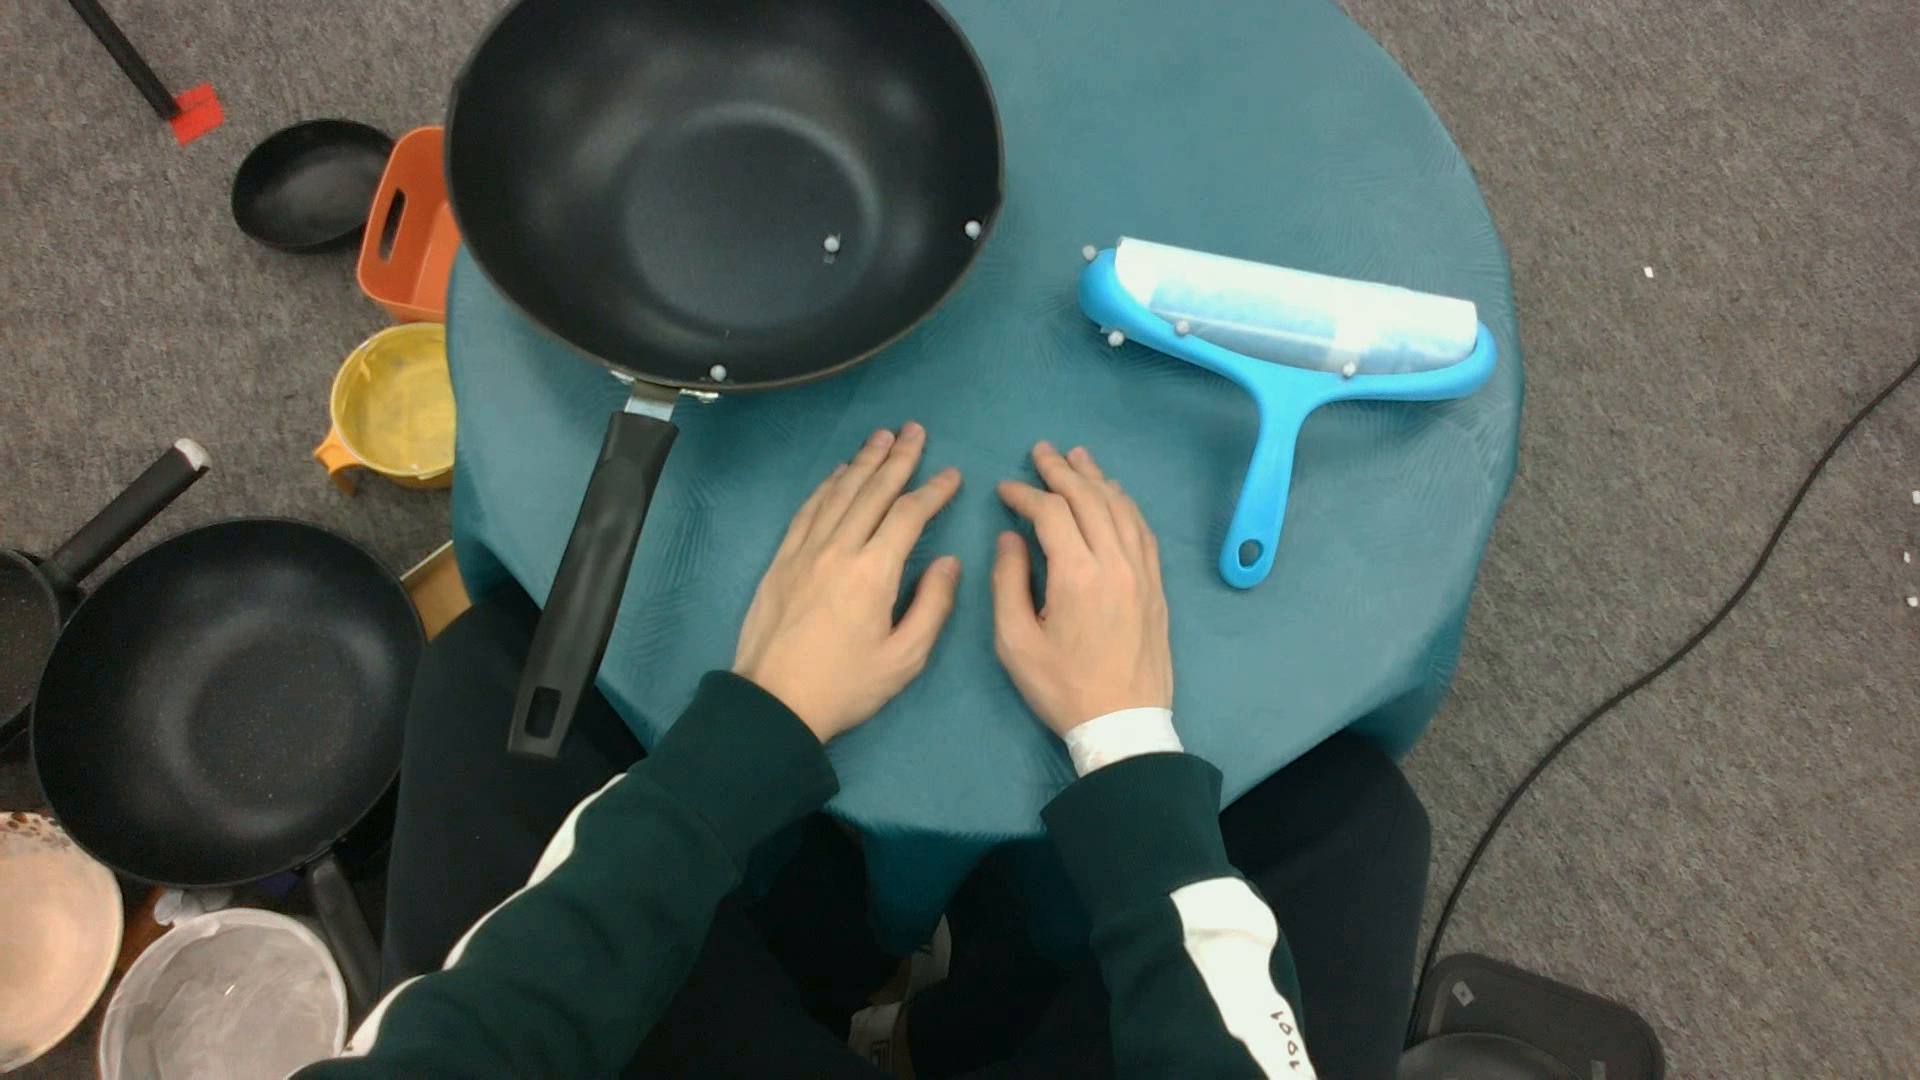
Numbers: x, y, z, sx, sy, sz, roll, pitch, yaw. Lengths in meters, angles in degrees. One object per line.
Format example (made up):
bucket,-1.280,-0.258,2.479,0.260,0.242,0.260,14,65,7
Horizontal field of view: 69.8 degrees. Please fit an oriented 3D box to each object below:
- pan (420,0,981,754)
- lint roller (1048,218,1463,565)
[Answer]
pan,-0.151,-0.112,0.710,0.288,0.086,0.464,12,72,0
lint roller,0.156,-0.080,0.737,0.229,0.067,0.181,7,70,-4
